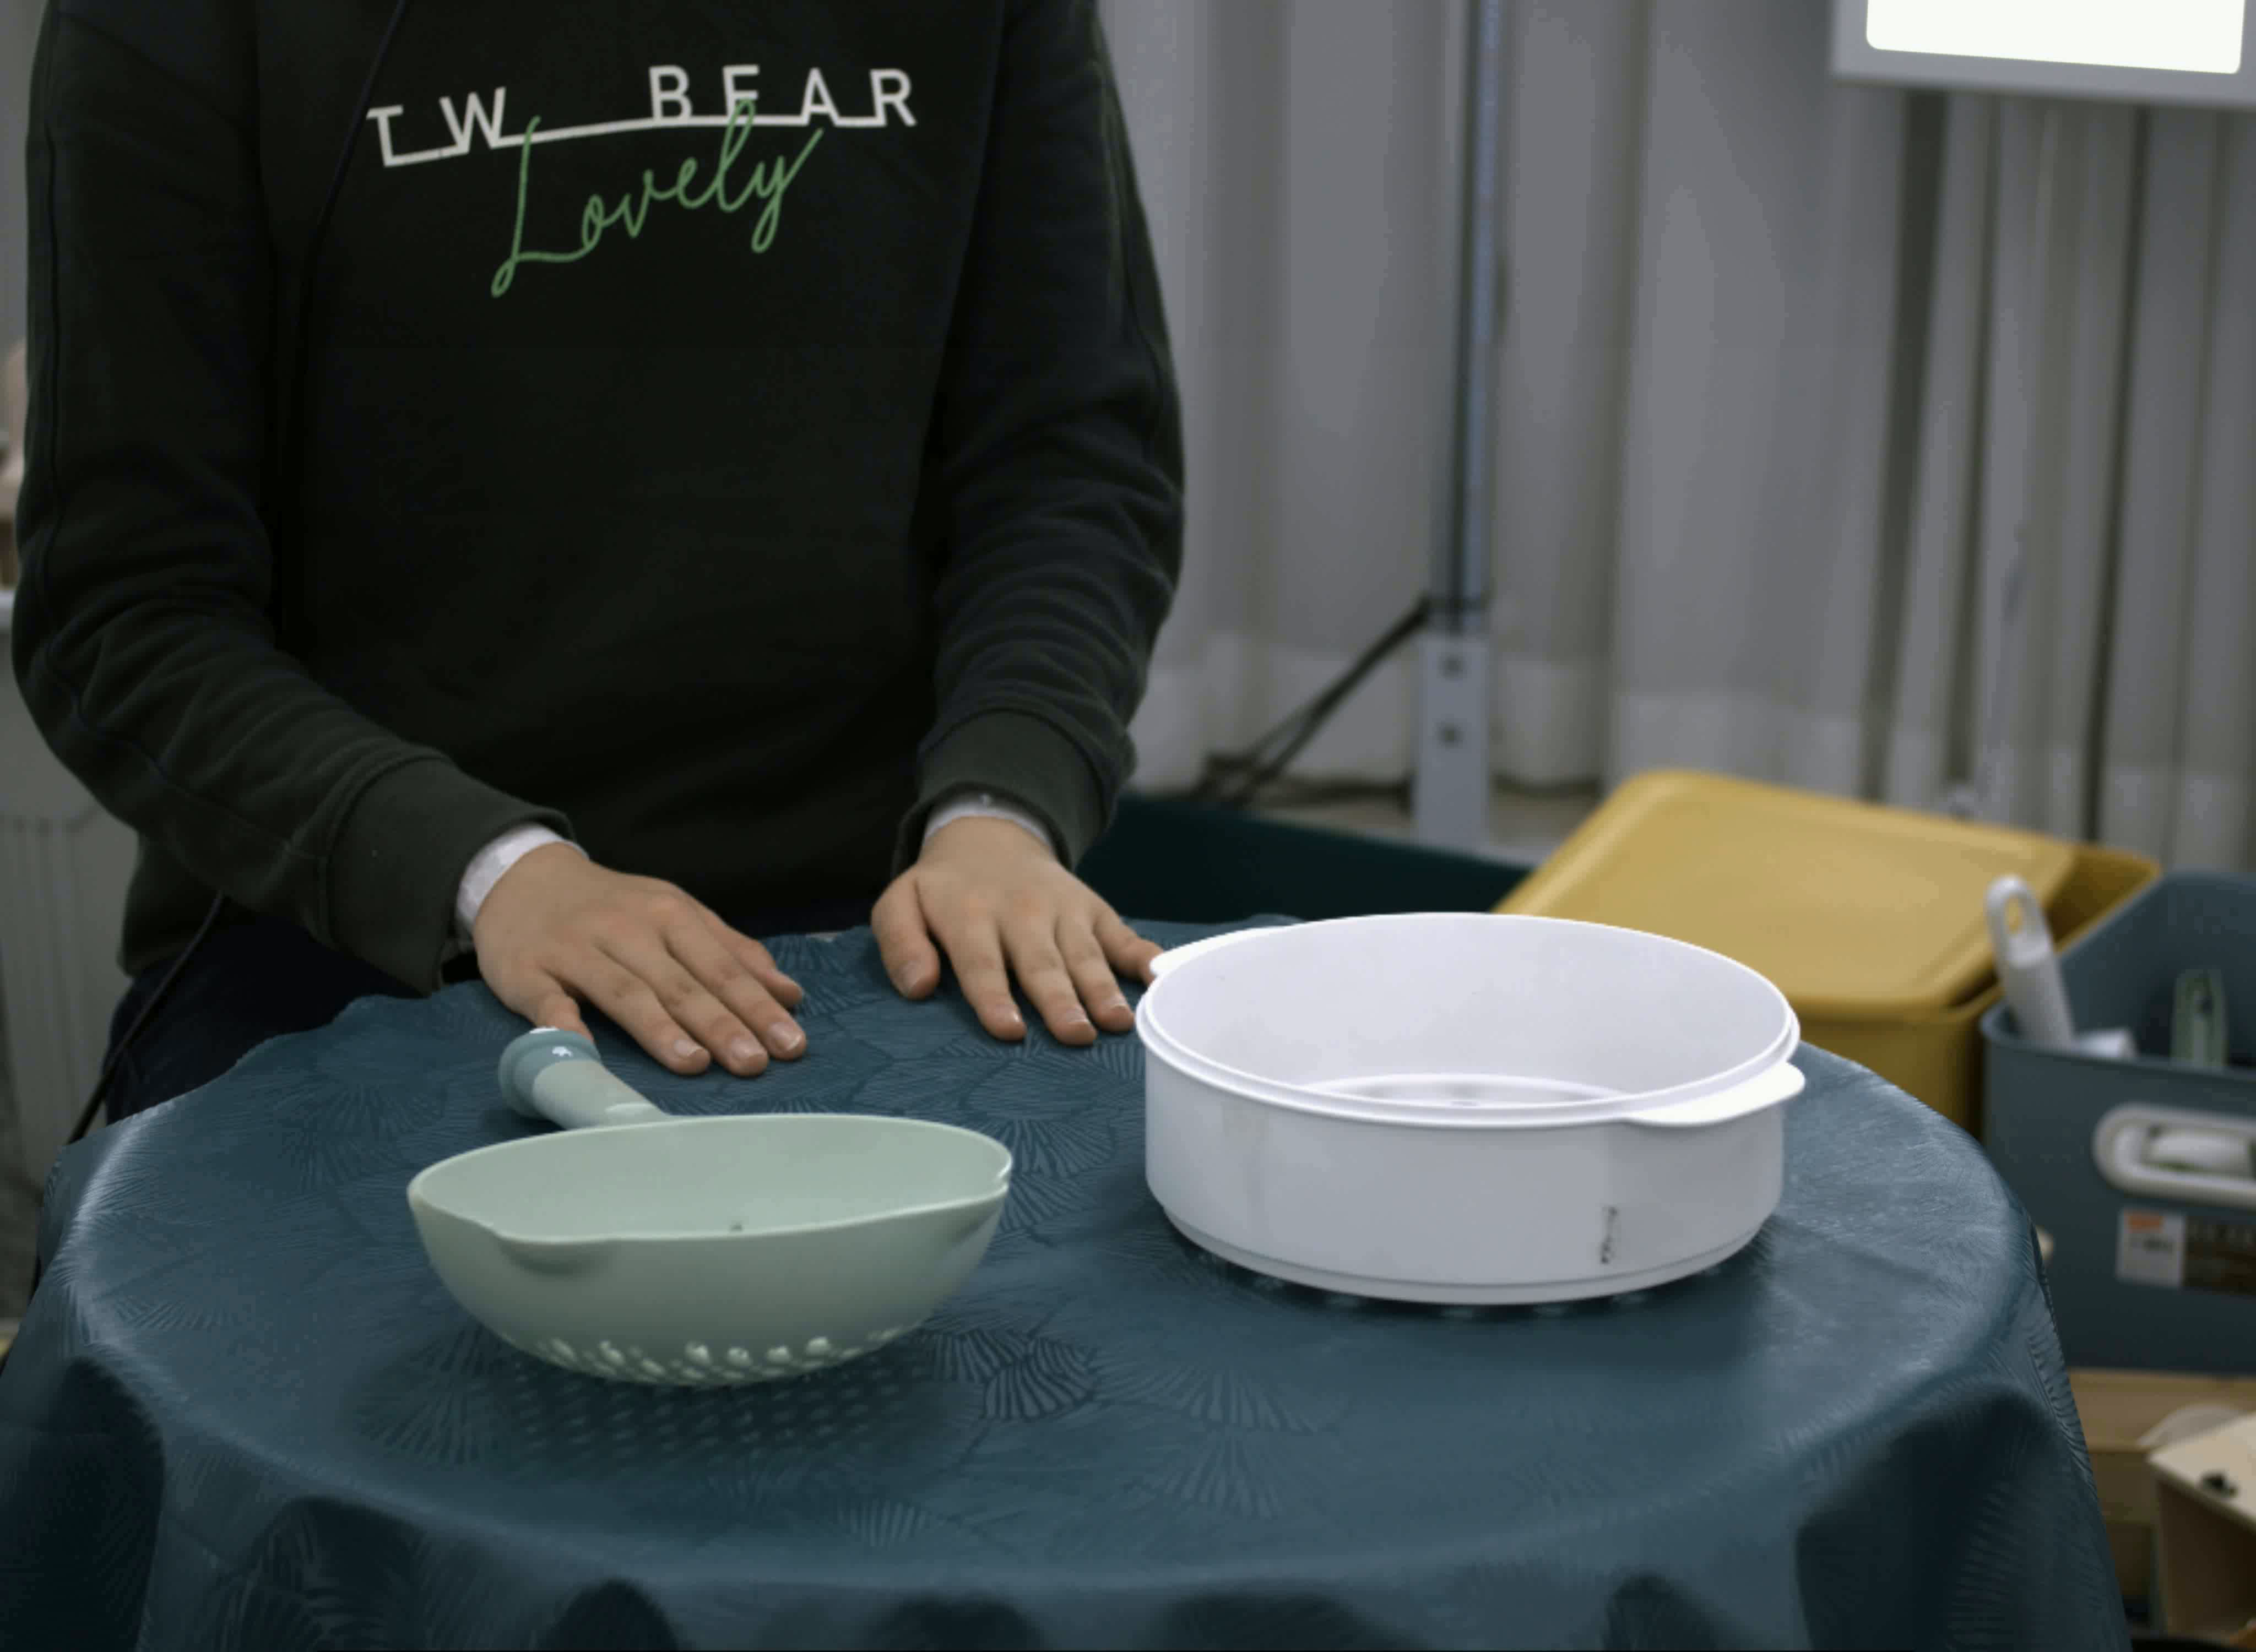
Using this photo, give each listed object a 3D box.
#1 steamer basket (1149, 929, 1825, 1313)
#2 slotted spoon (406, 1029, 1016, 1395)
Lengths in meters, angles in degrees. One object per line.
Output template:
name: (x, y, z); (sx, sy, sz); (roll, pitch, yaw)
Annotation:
steamer basket: (0.106, 0.089, 1.597); (0.227, 0.070, 0.203); (15, 20, 42)
slotted spoon: (-0.143, 0.097, 1.556); (0.169, 0.076, 0.355); (-4, 16, -17)
